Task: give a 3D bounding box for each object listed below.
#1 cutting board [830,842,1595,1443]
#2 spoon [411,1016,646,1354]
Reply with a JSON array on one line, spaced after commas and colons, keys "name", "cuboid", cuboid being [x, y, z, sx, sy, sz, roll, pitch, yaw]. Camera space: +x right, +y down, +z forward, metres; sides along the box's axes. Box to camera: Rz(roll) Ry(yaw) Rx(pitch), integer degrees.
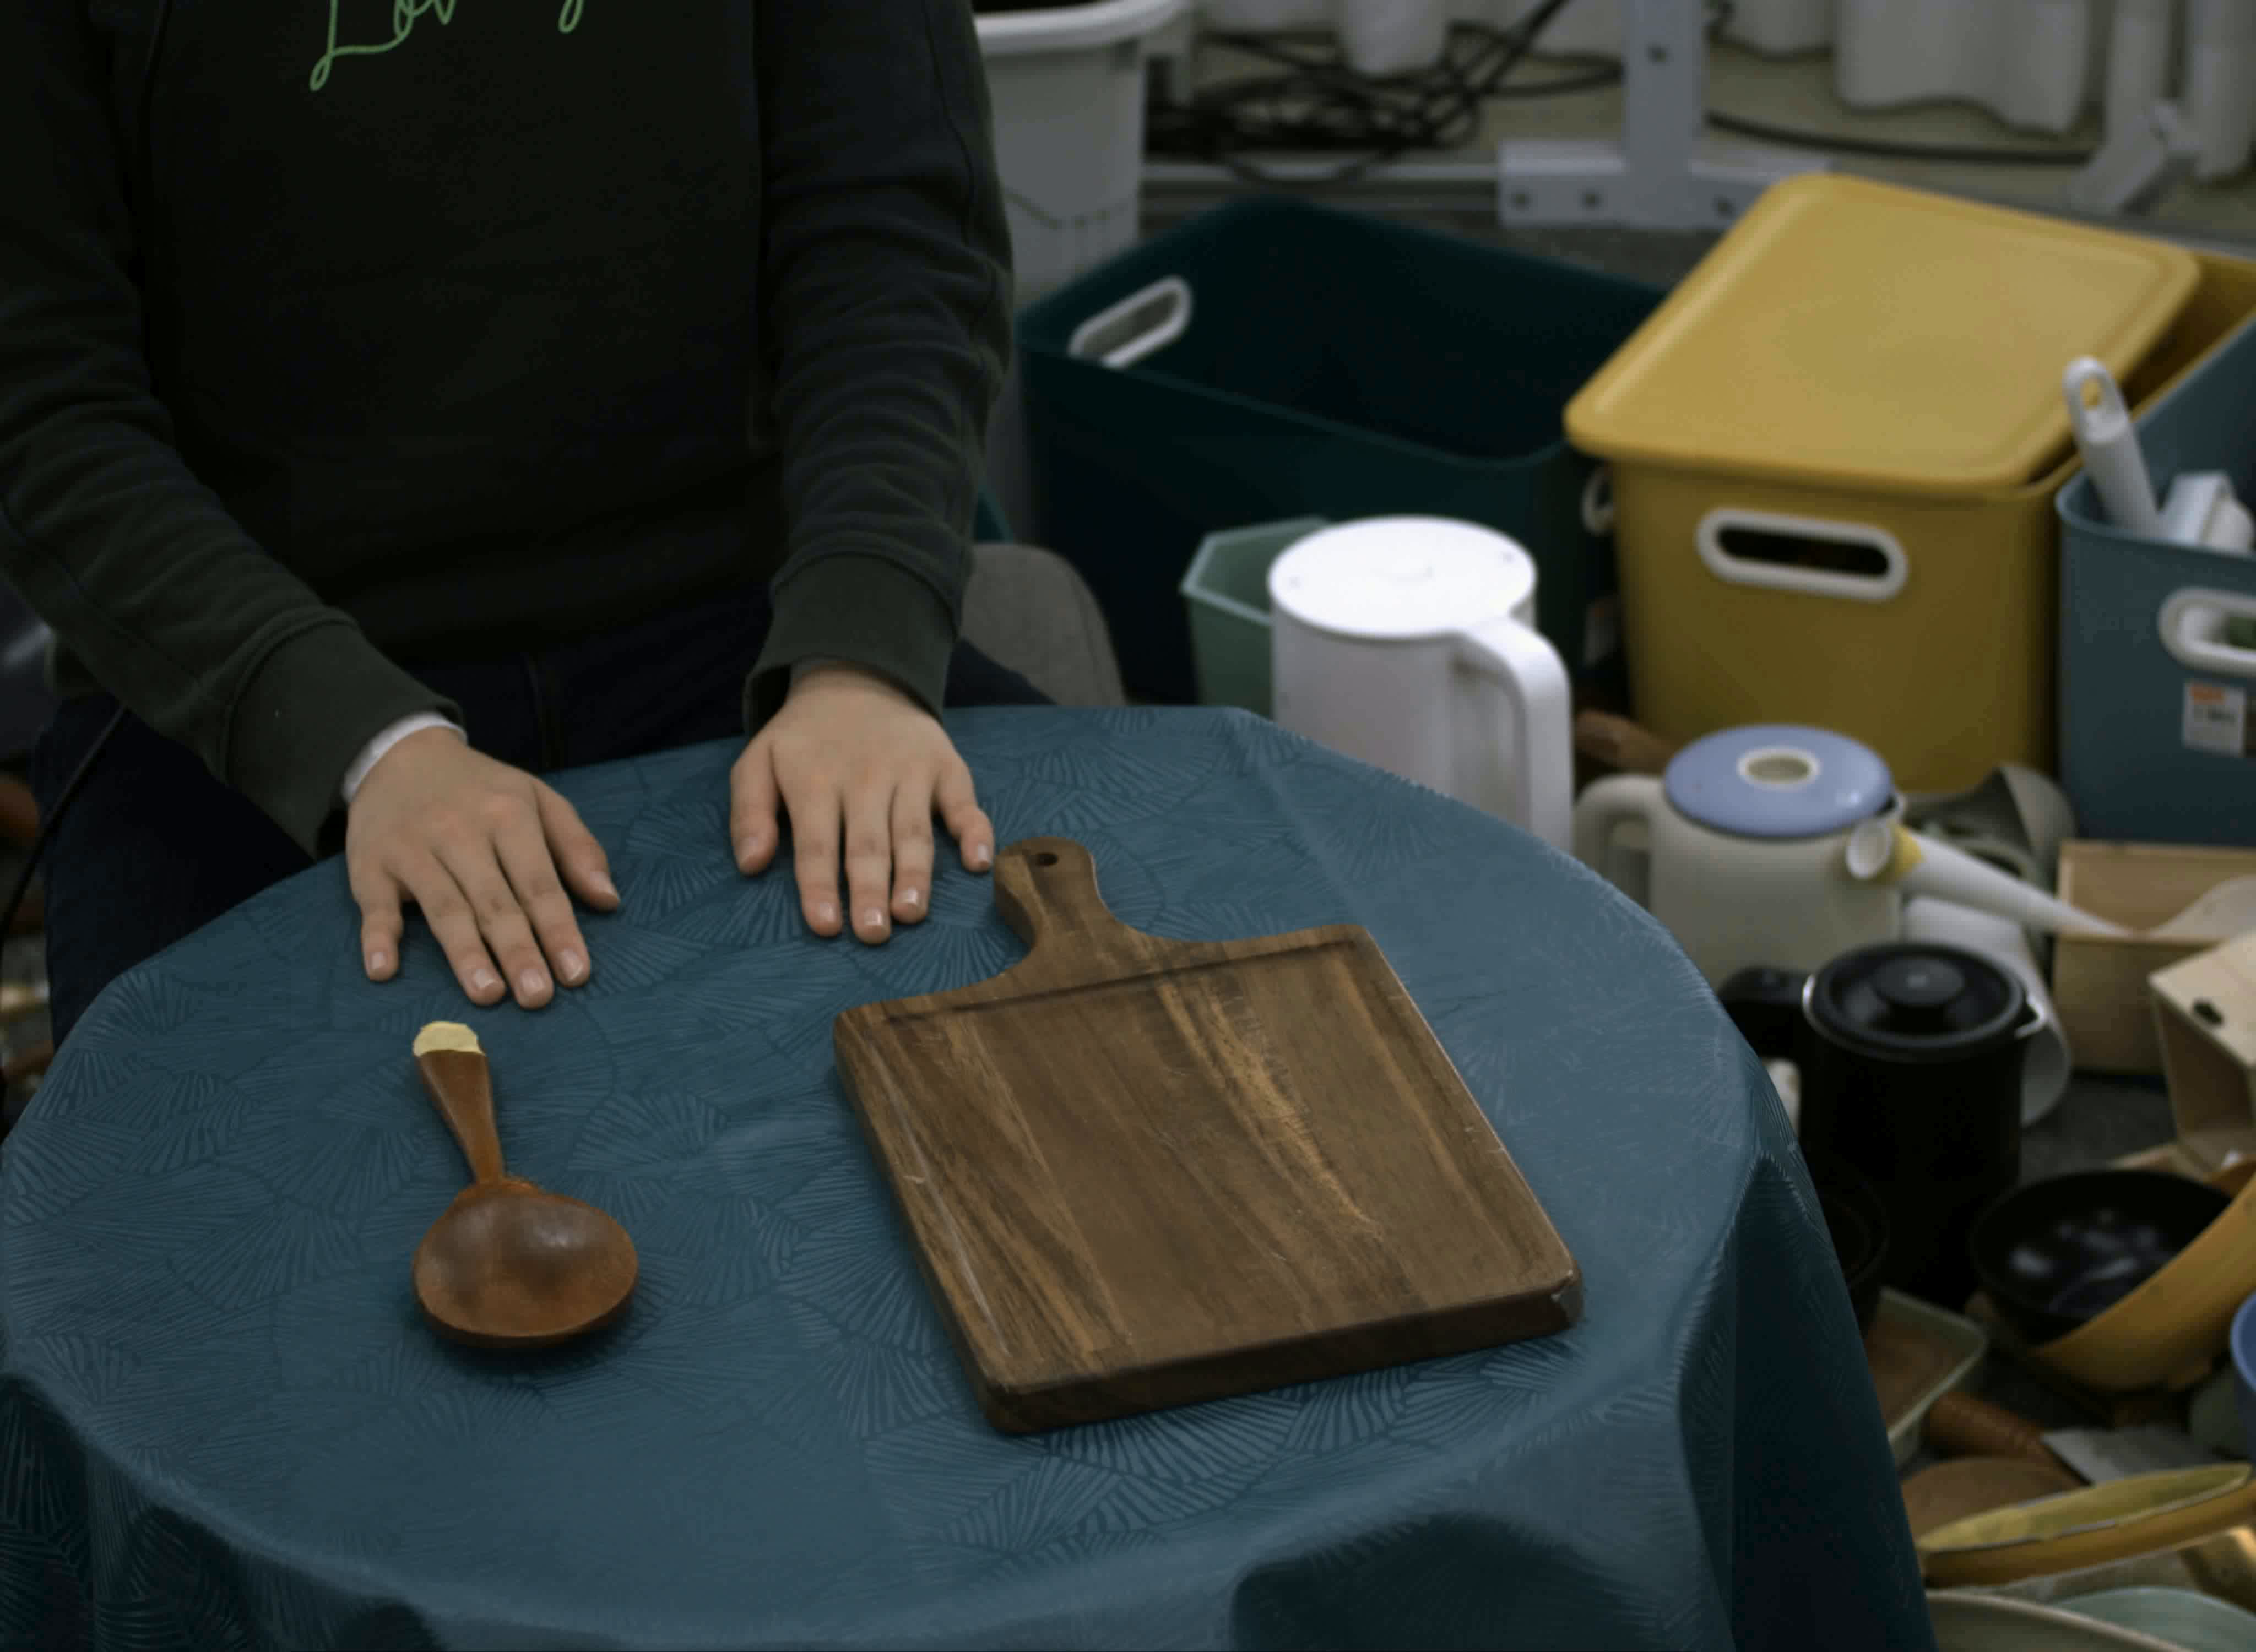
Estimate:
[{"name": "cutting board", "cuboid": [0.010, 0.091, 1.900, 0.201, 0.023, 0.356, -10, 28, -11]}, {"name": "spoon", "cuboid": [-0.210, 0.120, 1.866, 0.075, 0.017, 0.218, -11, 29, -12]}]
